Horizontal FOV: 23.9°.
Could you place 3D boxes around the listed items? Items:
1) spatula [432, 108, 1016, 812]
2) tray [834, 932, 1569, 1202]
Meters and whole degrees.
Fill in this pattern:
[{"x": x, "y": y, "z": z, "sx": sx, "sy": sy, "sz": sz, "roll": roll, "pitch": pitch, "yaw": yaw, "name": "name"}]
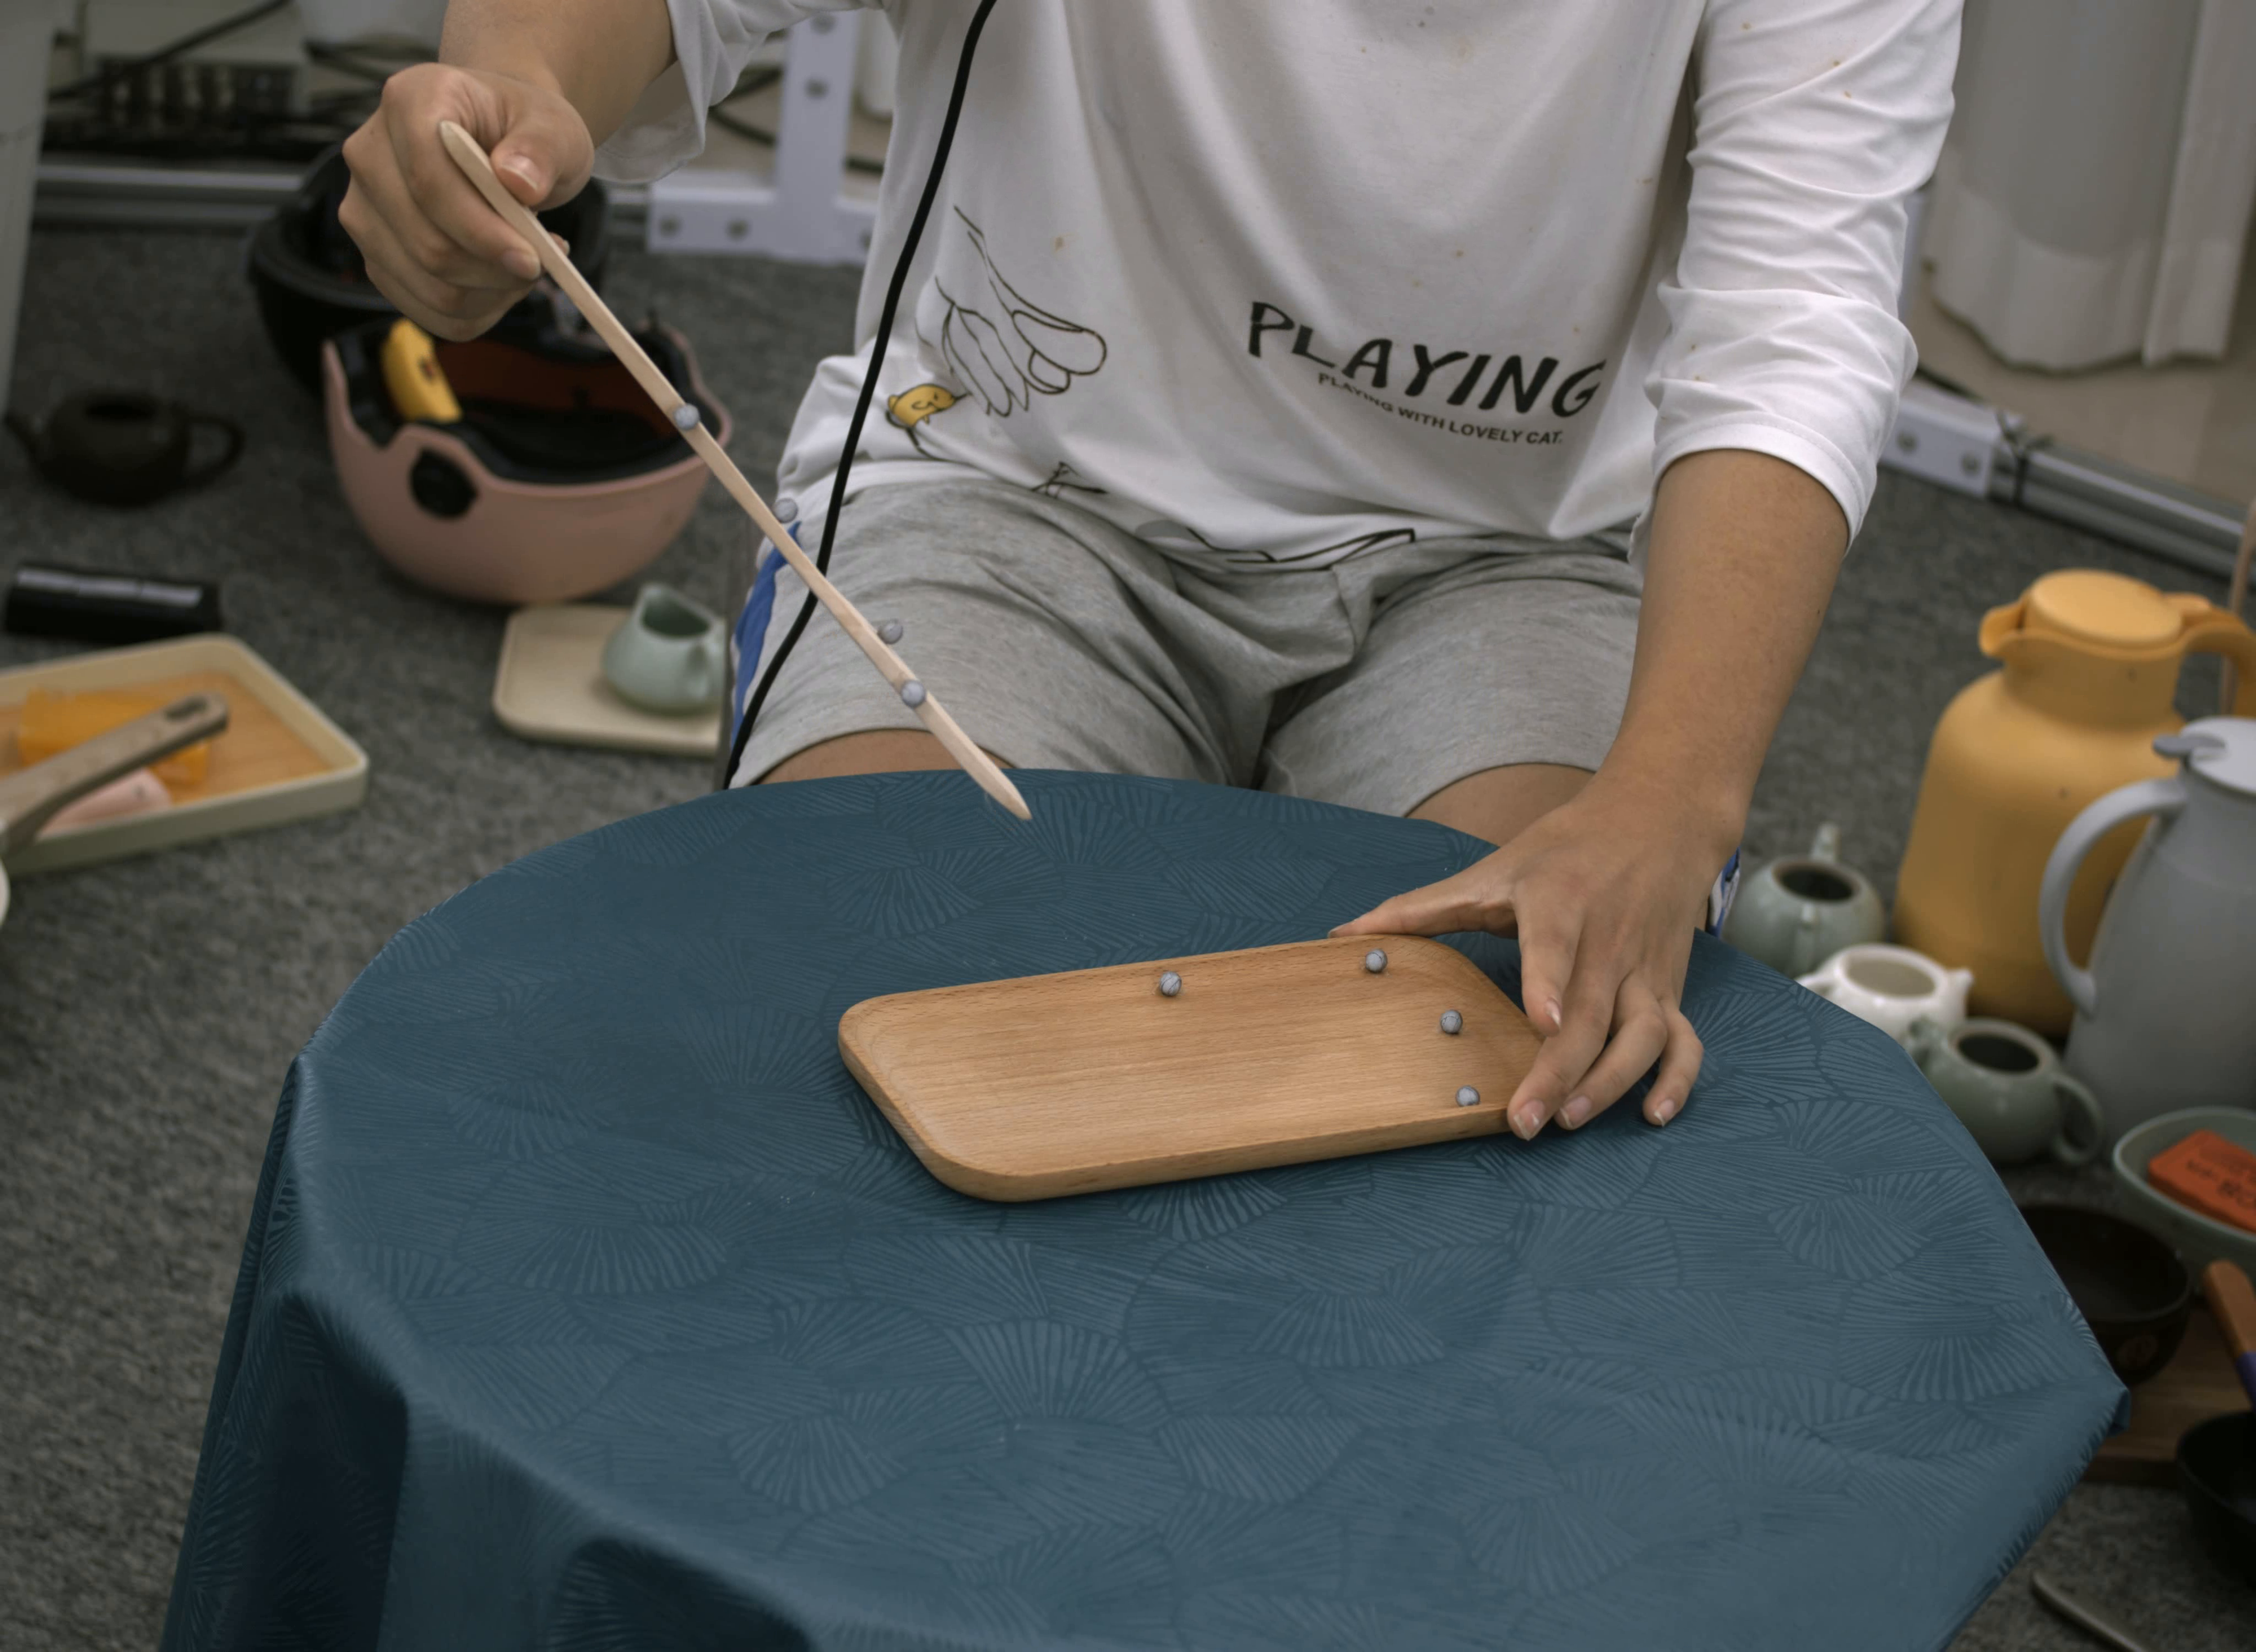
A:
[{"x": -0.132, "y": -0.118, "z": 1.731, "sx": 0.010, "sy": 0.292, "sz": 0.072, "roll": -39, "pitch": 13, "yaw": 2, "name": "spatula"}, {"x": 0.026, "y": 0.084, "z": 1.875, "sx": 0.249, "sy": 0.023, "sz": 0.132, "roll": -7, "pitch": 27, "yaw": -23, "name": "tray"}]
